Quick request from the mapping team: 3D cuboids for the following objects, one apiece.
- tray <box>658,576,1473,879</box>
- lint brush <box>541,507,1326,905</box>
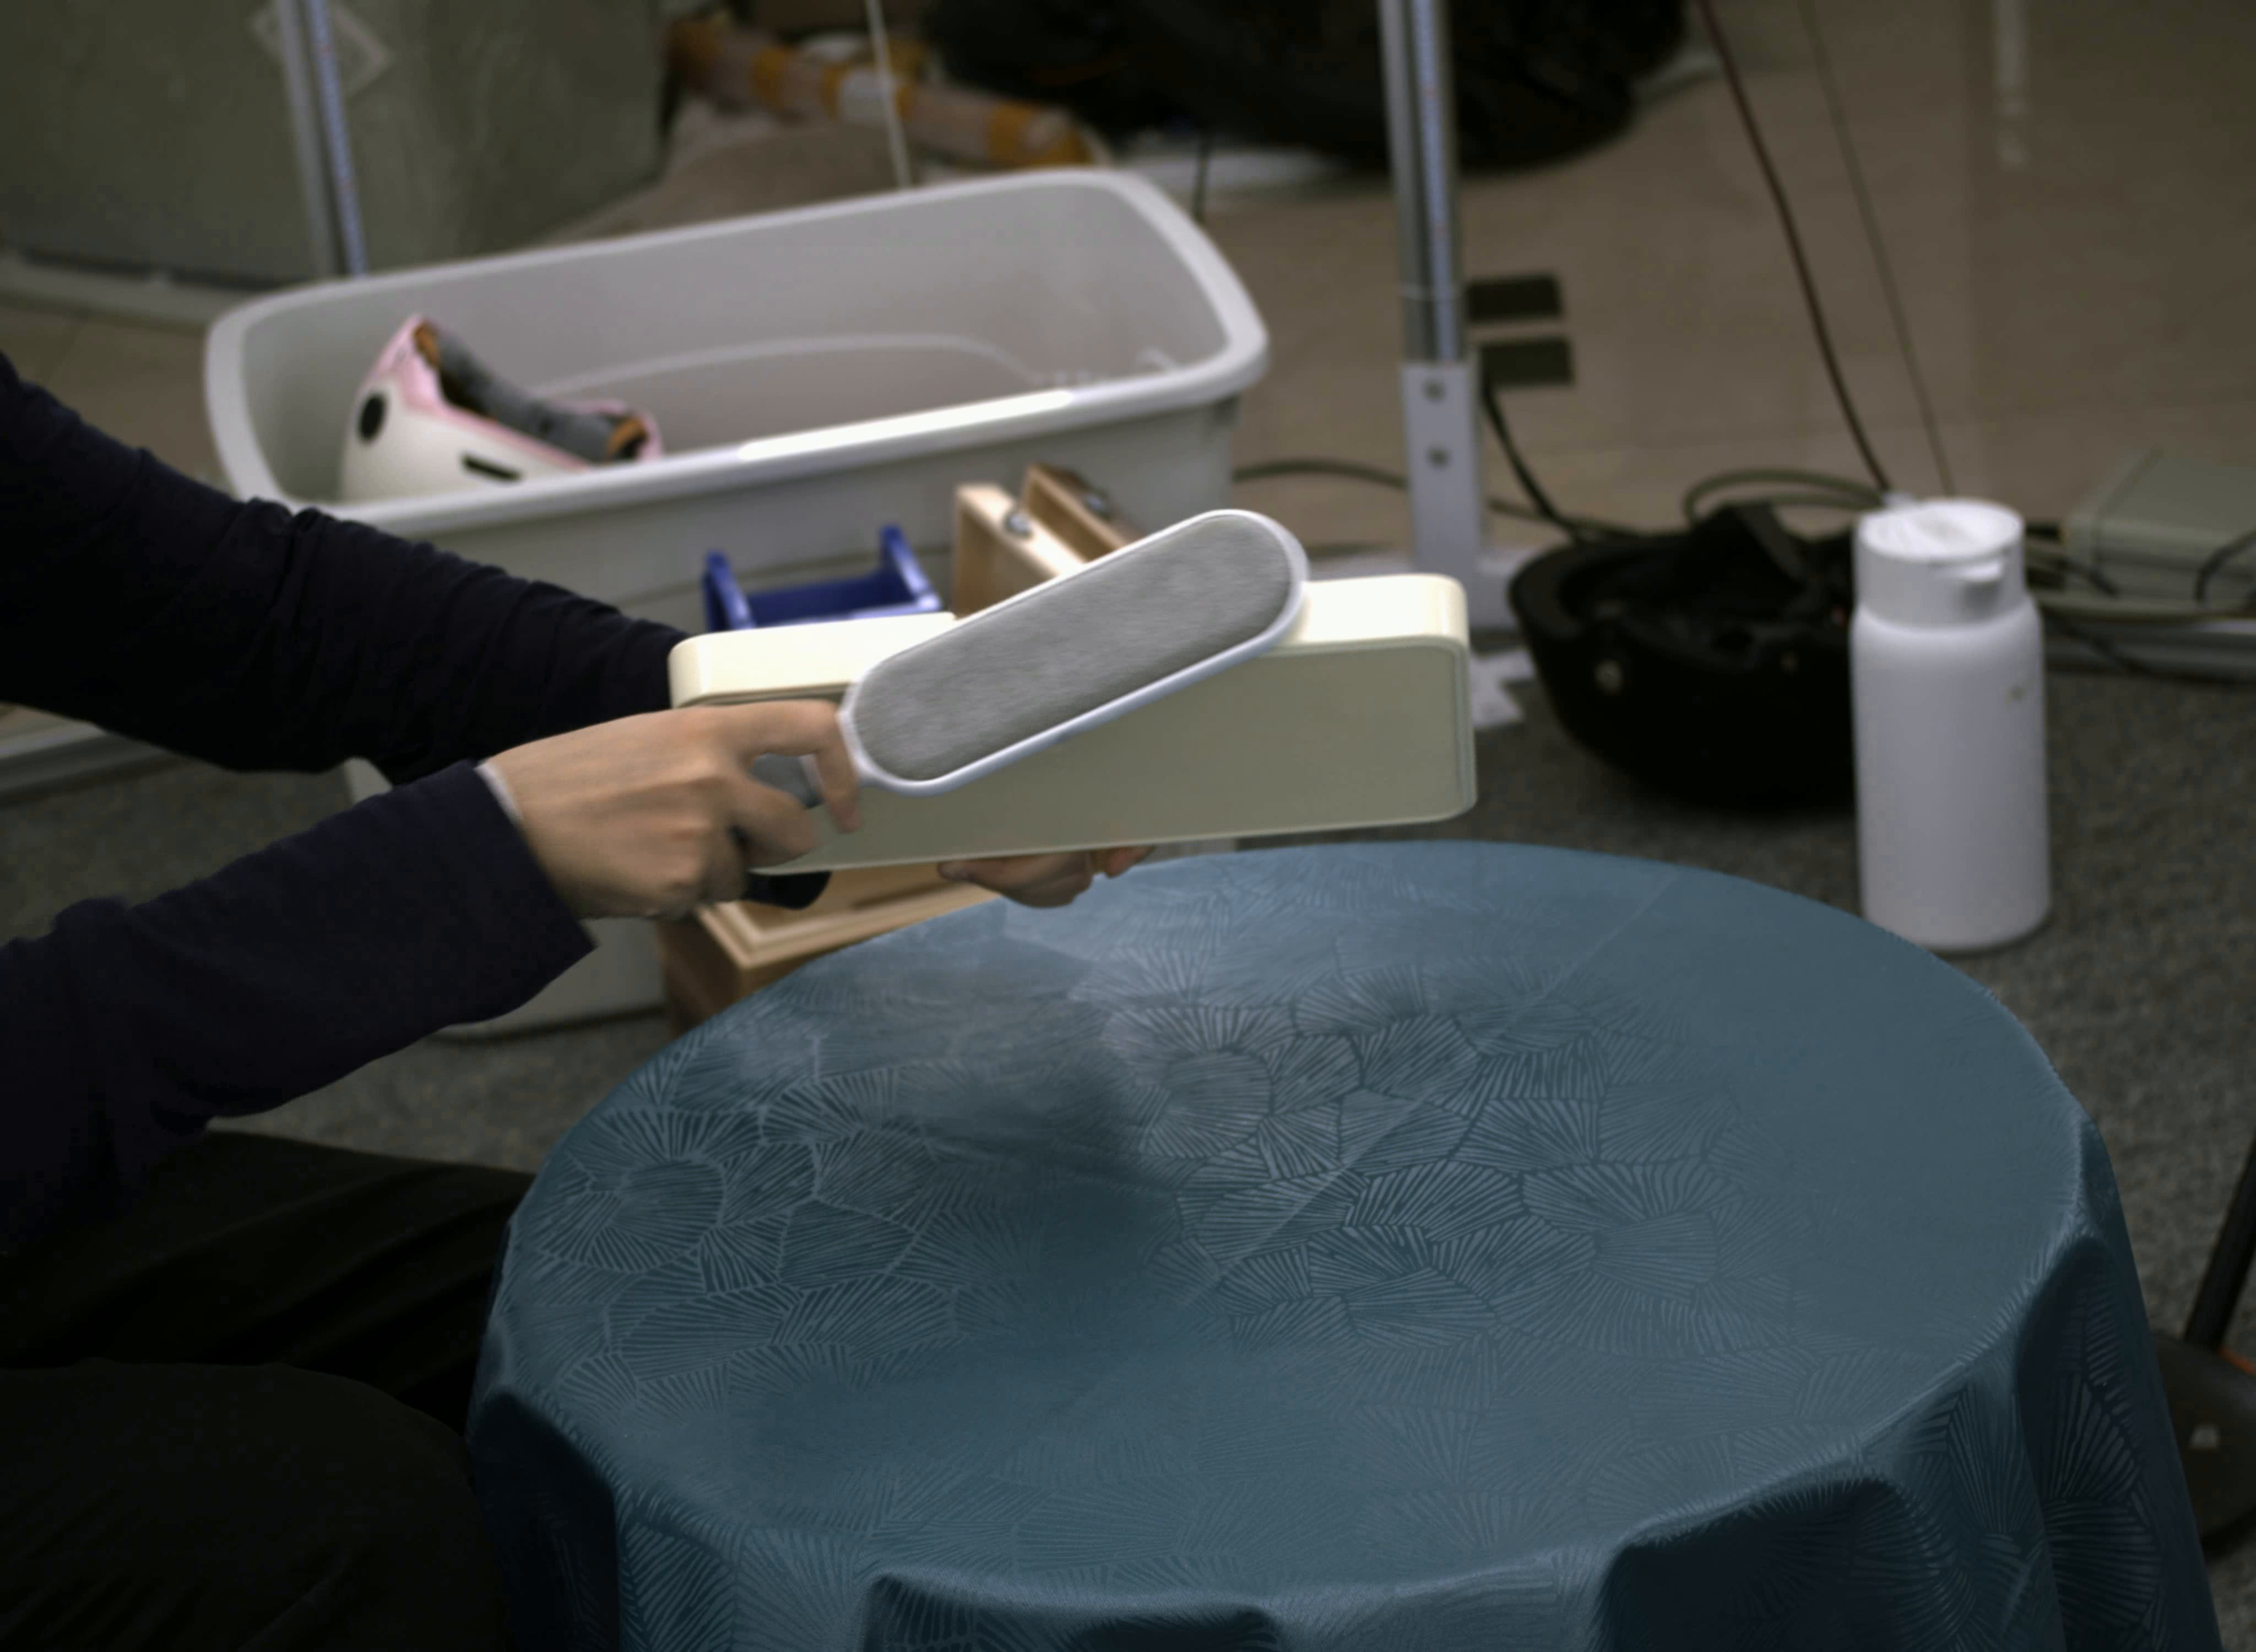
[{"bbox_3d":[-0.019,-0.034,2.170,0.300,0.194,0.027,-5,68,4],"label":"tray"},{"bbox_3d":[-0.071,-0.041,2.064,0.308,0.060,0.021,-23,-11,-3],"label":"lint brush"}]
